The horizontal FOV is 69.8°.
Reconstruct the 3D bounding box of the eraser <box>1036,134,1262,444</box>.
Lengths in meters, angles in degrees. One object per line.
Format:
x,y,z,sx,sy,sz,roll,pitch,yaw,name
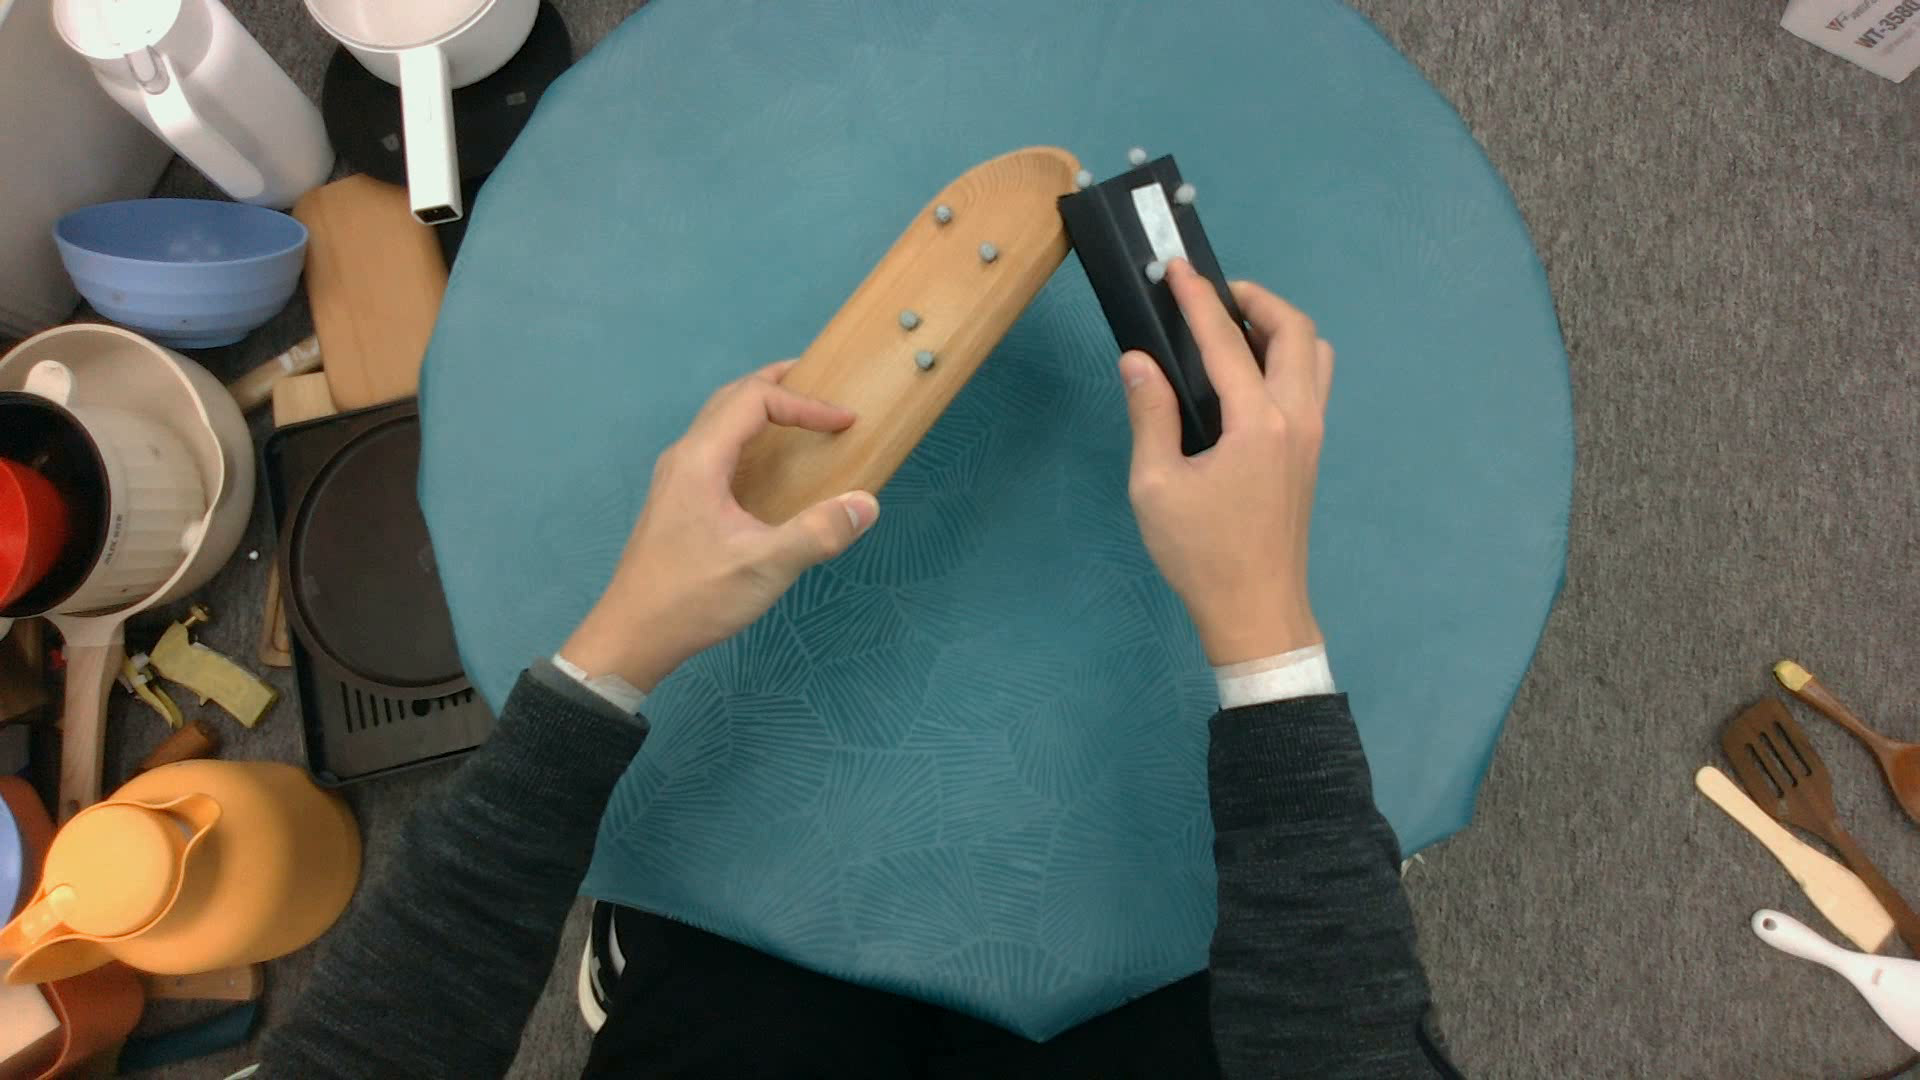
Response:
0.083,-0.108,0.597,0.054,0.030,0.125,-31,99,-28,eraser

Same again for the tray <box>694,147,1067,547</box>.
-0.033,-0.090,0.616,0.101,0.020,0.232,22,70,48,tray
